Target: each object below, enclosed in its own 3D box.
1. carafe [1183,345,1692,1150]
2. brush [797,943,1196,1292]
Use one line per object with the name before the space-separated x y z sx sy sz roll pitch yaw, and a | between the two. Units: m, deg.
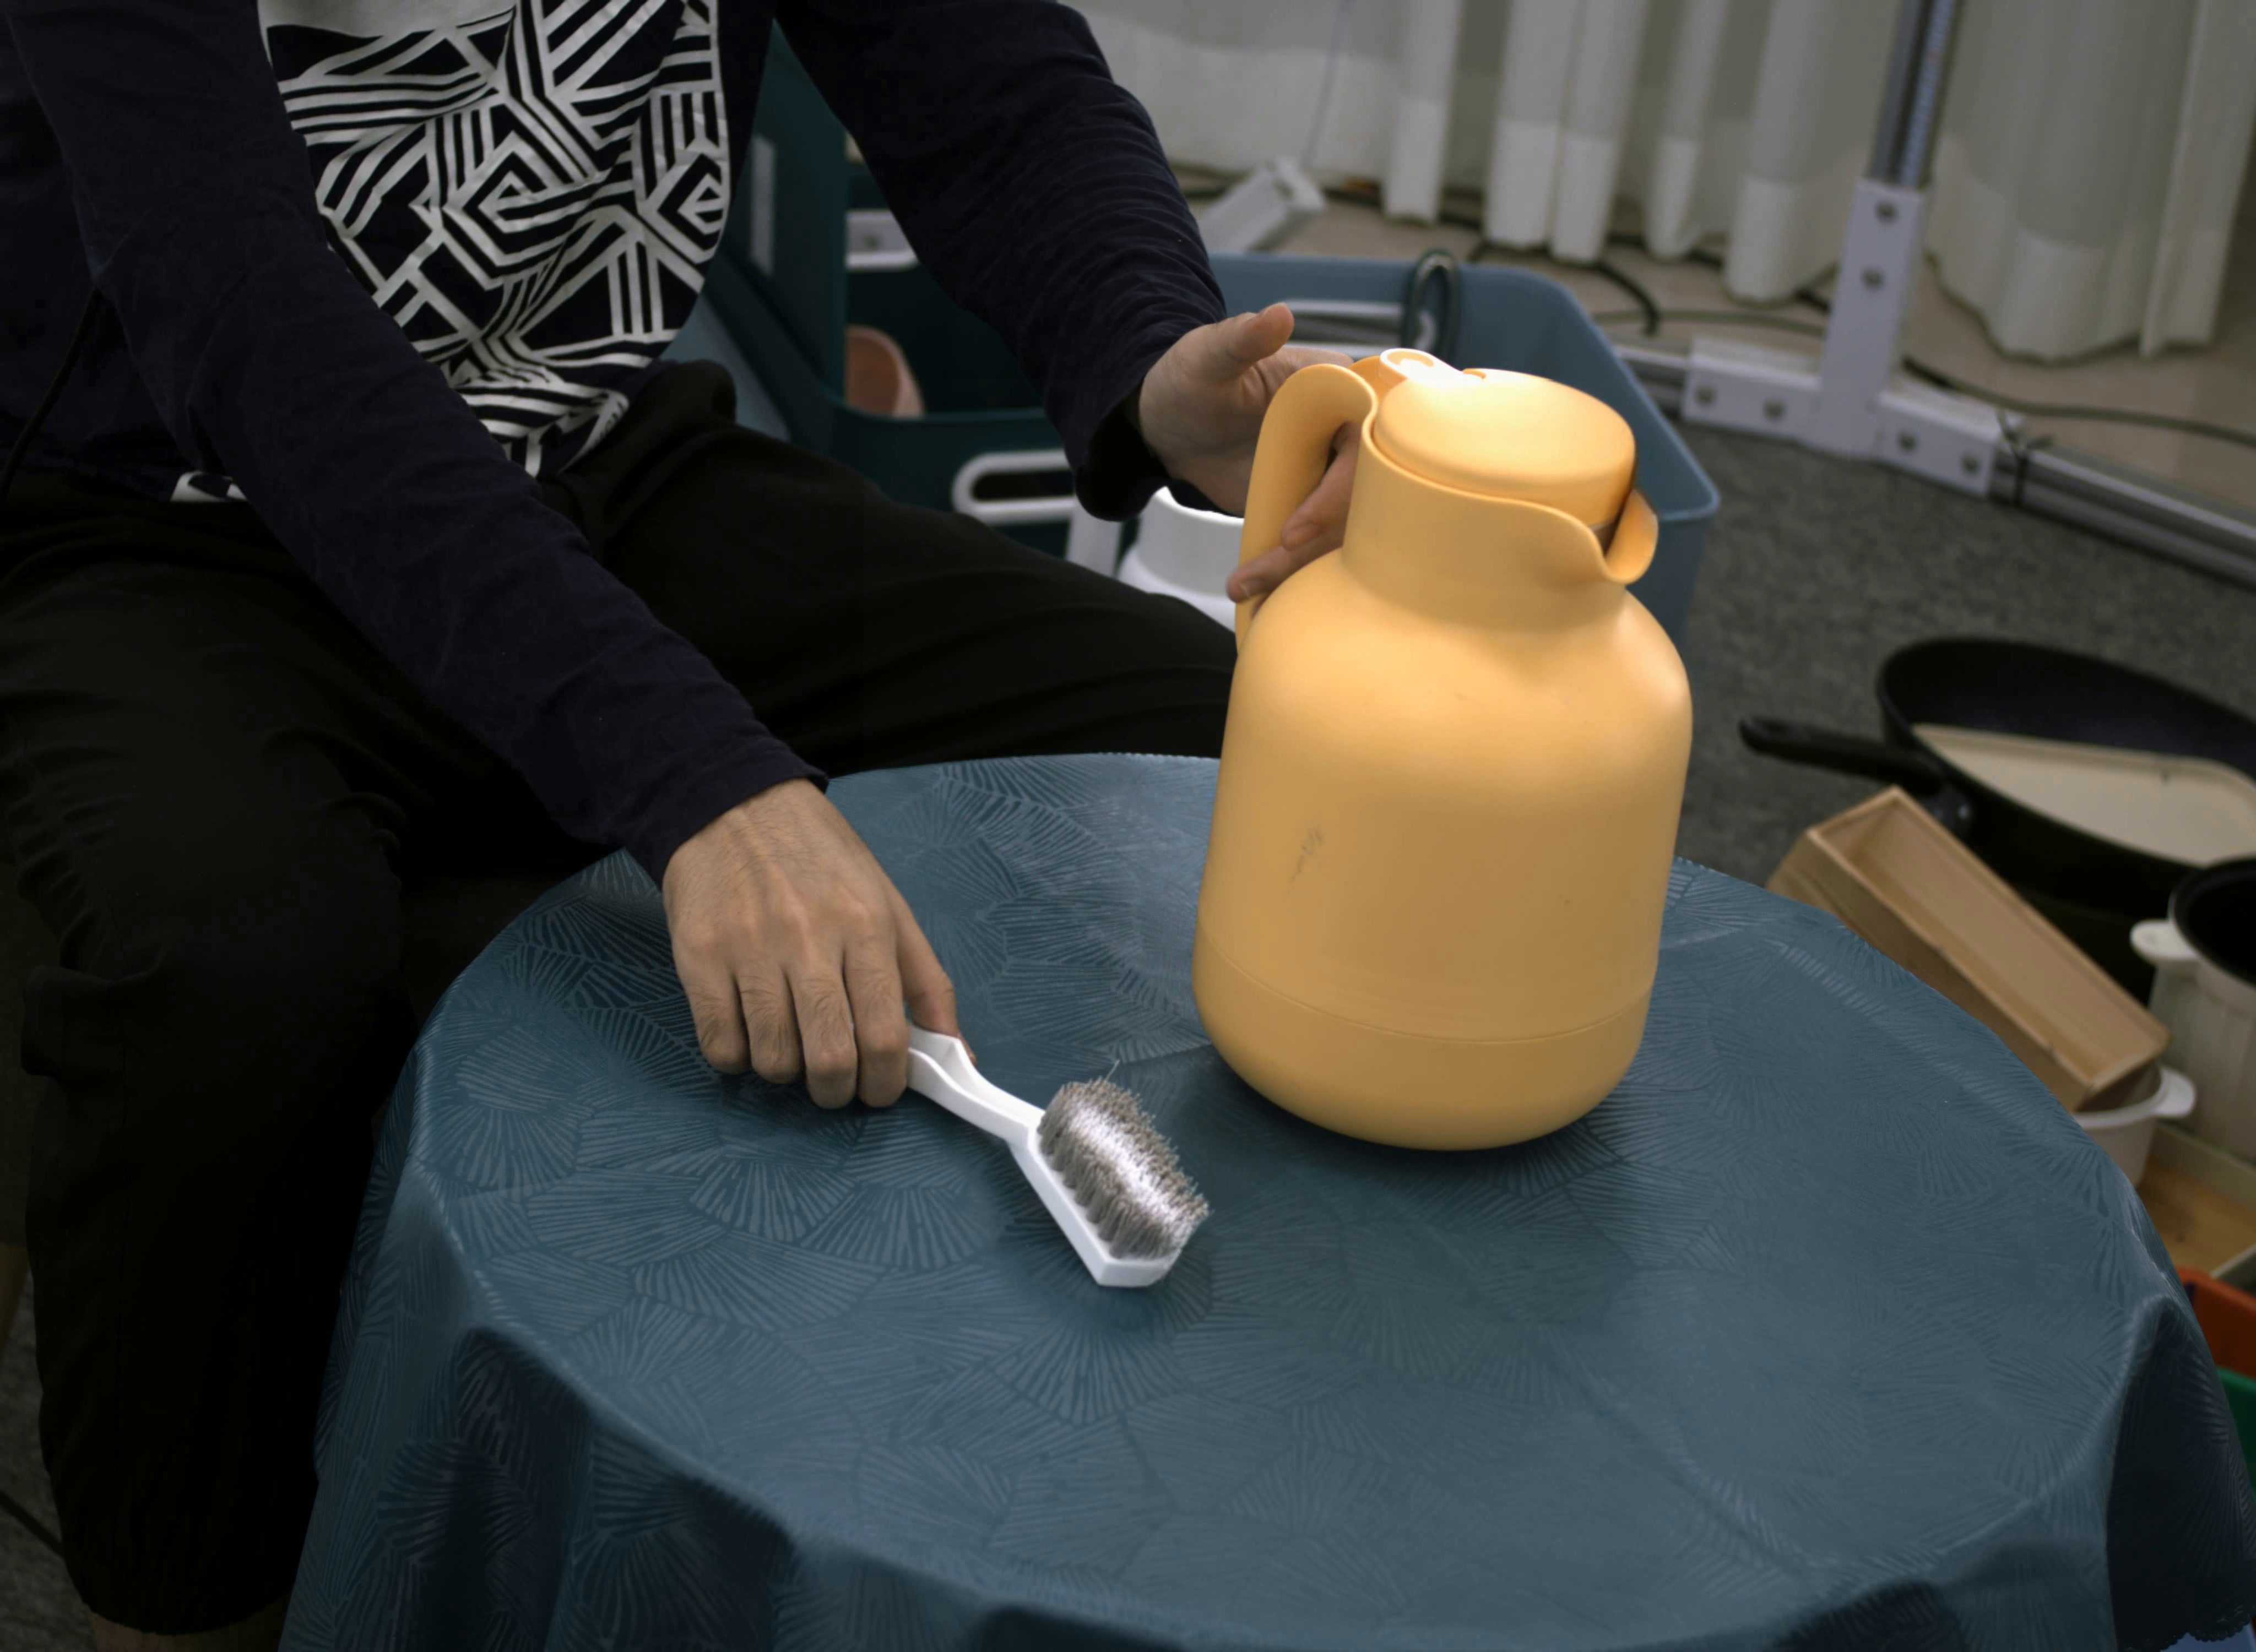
carafe | 0.104 -0.037 1.857 0.162 0.260 0.204 -8 31 -32
brush | -0.050 0.082 1.824 0.034 0.050 0.246 -12 33 -28
